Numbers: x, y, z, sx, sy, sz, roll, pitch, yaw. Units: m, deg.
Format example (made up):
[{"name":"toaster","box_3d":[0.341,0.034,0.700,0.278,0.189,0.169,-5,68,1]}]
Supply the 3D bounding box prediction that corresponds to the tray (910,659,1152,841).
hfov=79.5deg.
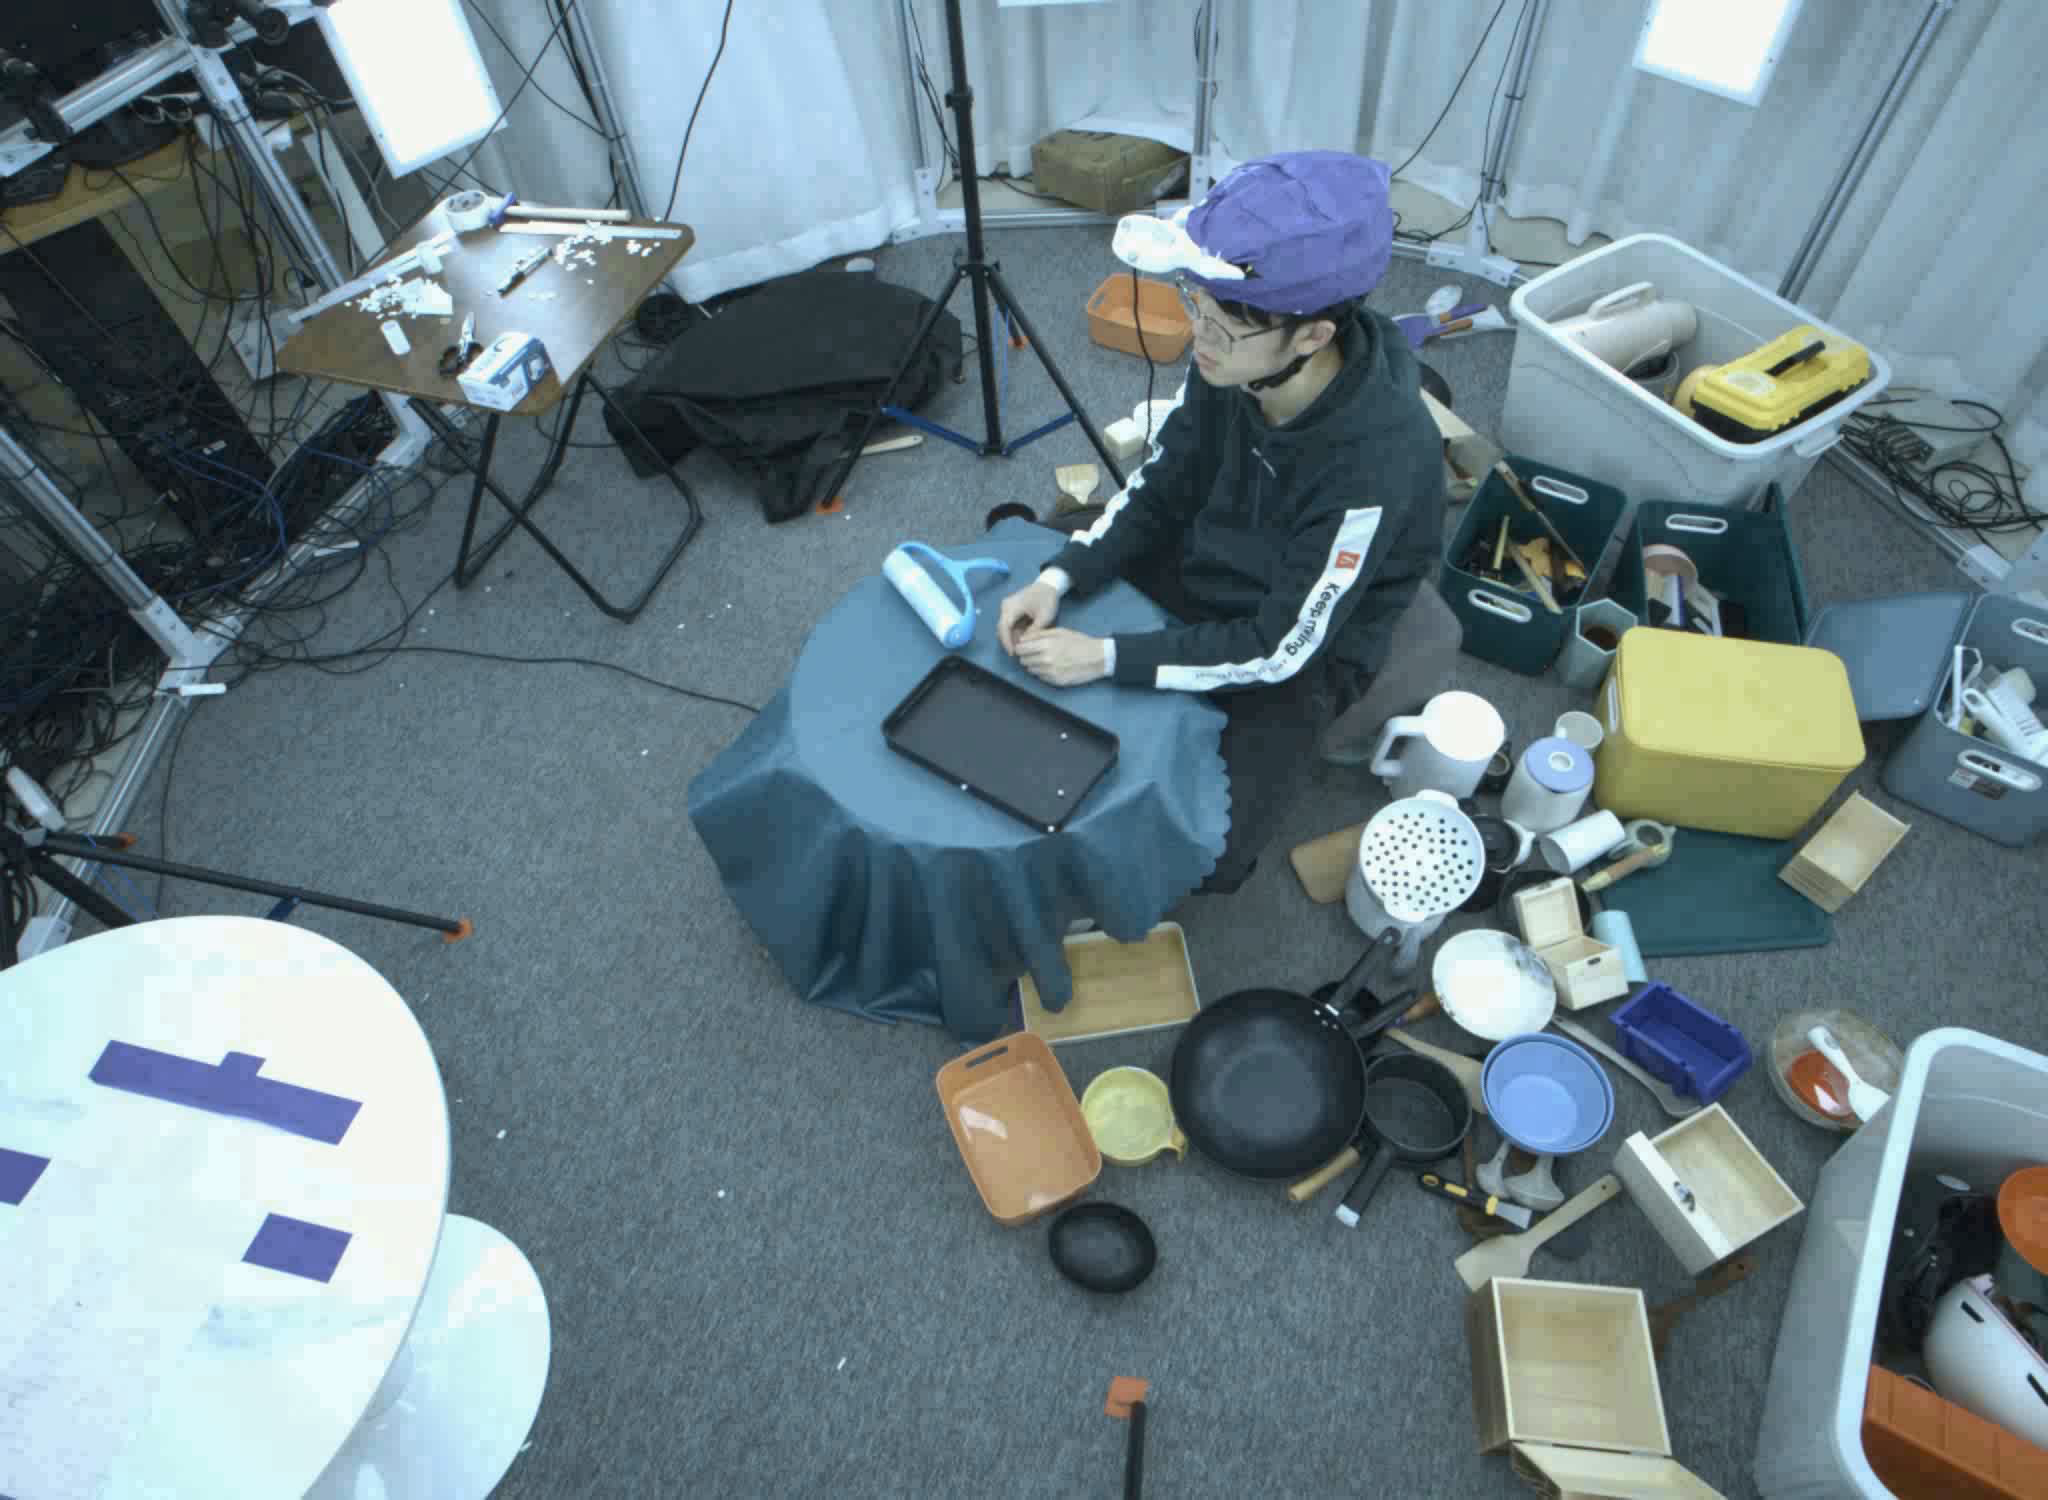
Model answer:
[{"name":"tray","box_3d":[0.009,-0.005,1.765,0.313,0.037,0.185,28,60,21]}]

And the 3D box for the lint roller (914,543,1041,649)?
[{"name":"lint roller","box_3d":[-0.056,-0.268,1.940,0.181,0.069,0.224,-30,57,-17]}]
